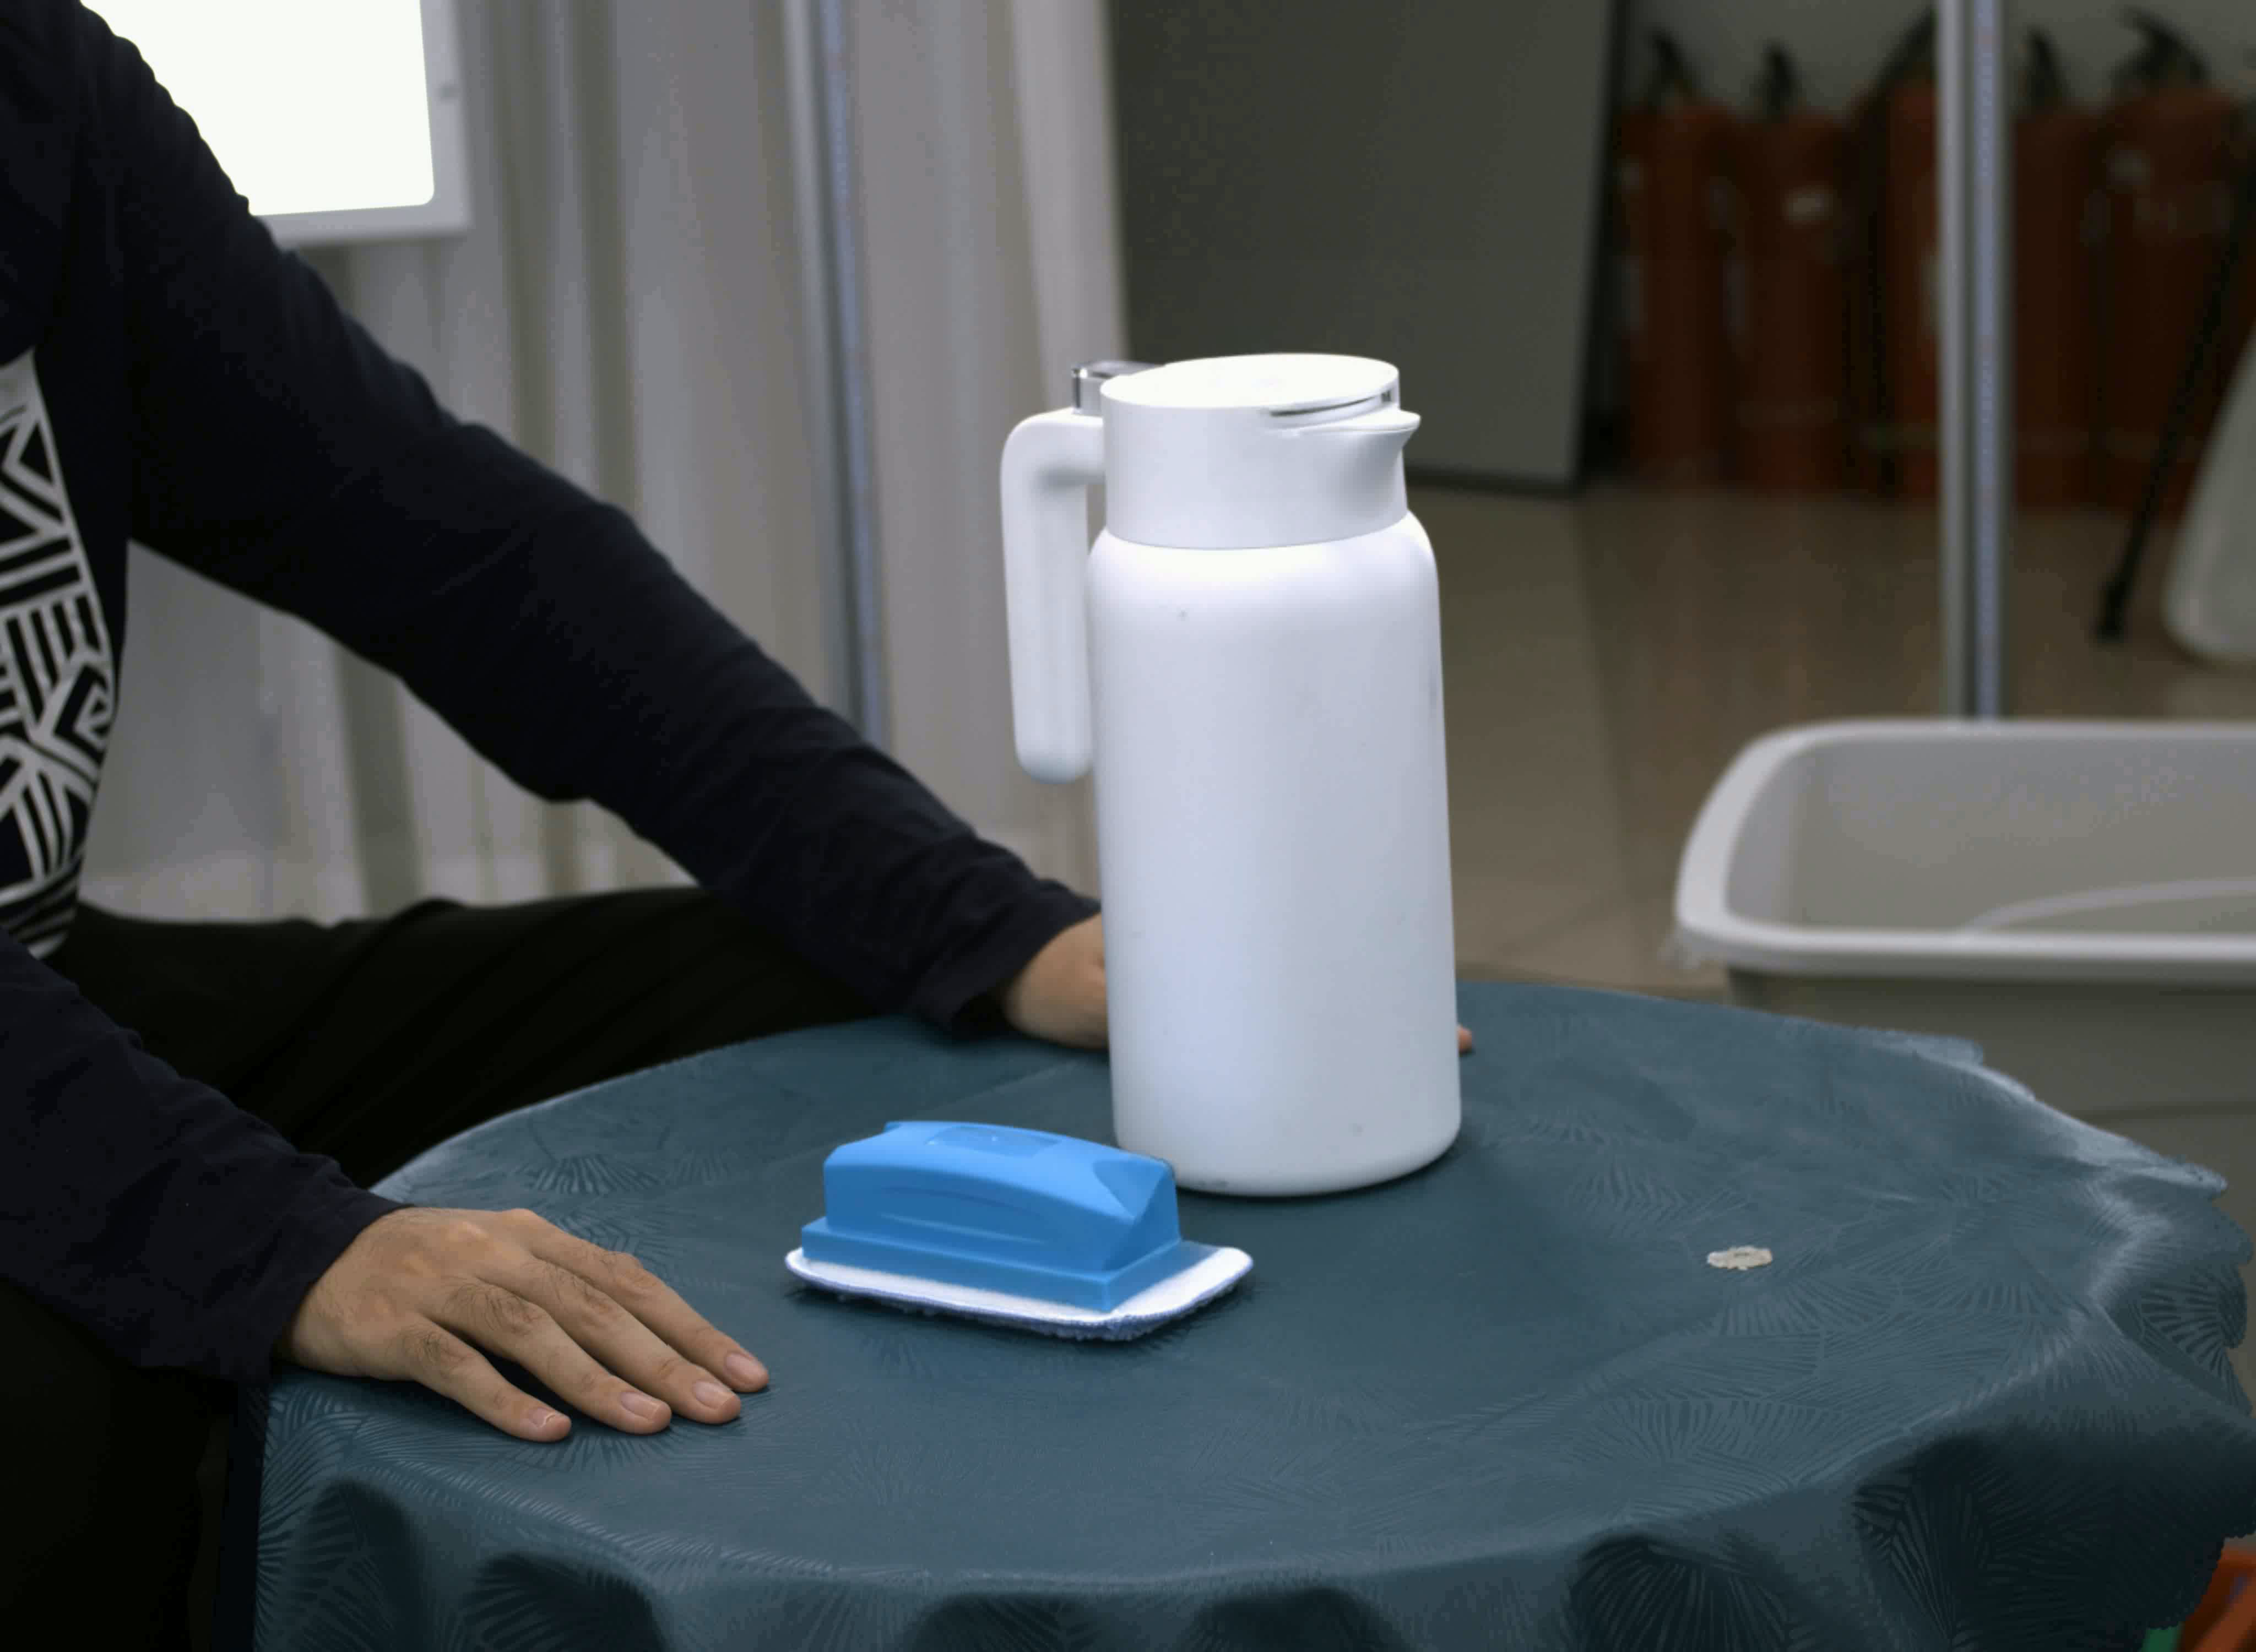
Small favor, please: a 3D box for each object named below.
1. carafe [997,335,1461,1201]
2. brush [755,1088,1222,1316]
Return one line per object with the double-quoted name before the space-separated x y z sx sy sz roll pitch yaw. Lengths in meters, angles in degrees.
"carafe" 0.033 -0.021 1.783 0.174 0.272 0.121 7 18 41
"brush" -0.043 0.116 1.680 0.145 0.056 0.082 10 16 37
